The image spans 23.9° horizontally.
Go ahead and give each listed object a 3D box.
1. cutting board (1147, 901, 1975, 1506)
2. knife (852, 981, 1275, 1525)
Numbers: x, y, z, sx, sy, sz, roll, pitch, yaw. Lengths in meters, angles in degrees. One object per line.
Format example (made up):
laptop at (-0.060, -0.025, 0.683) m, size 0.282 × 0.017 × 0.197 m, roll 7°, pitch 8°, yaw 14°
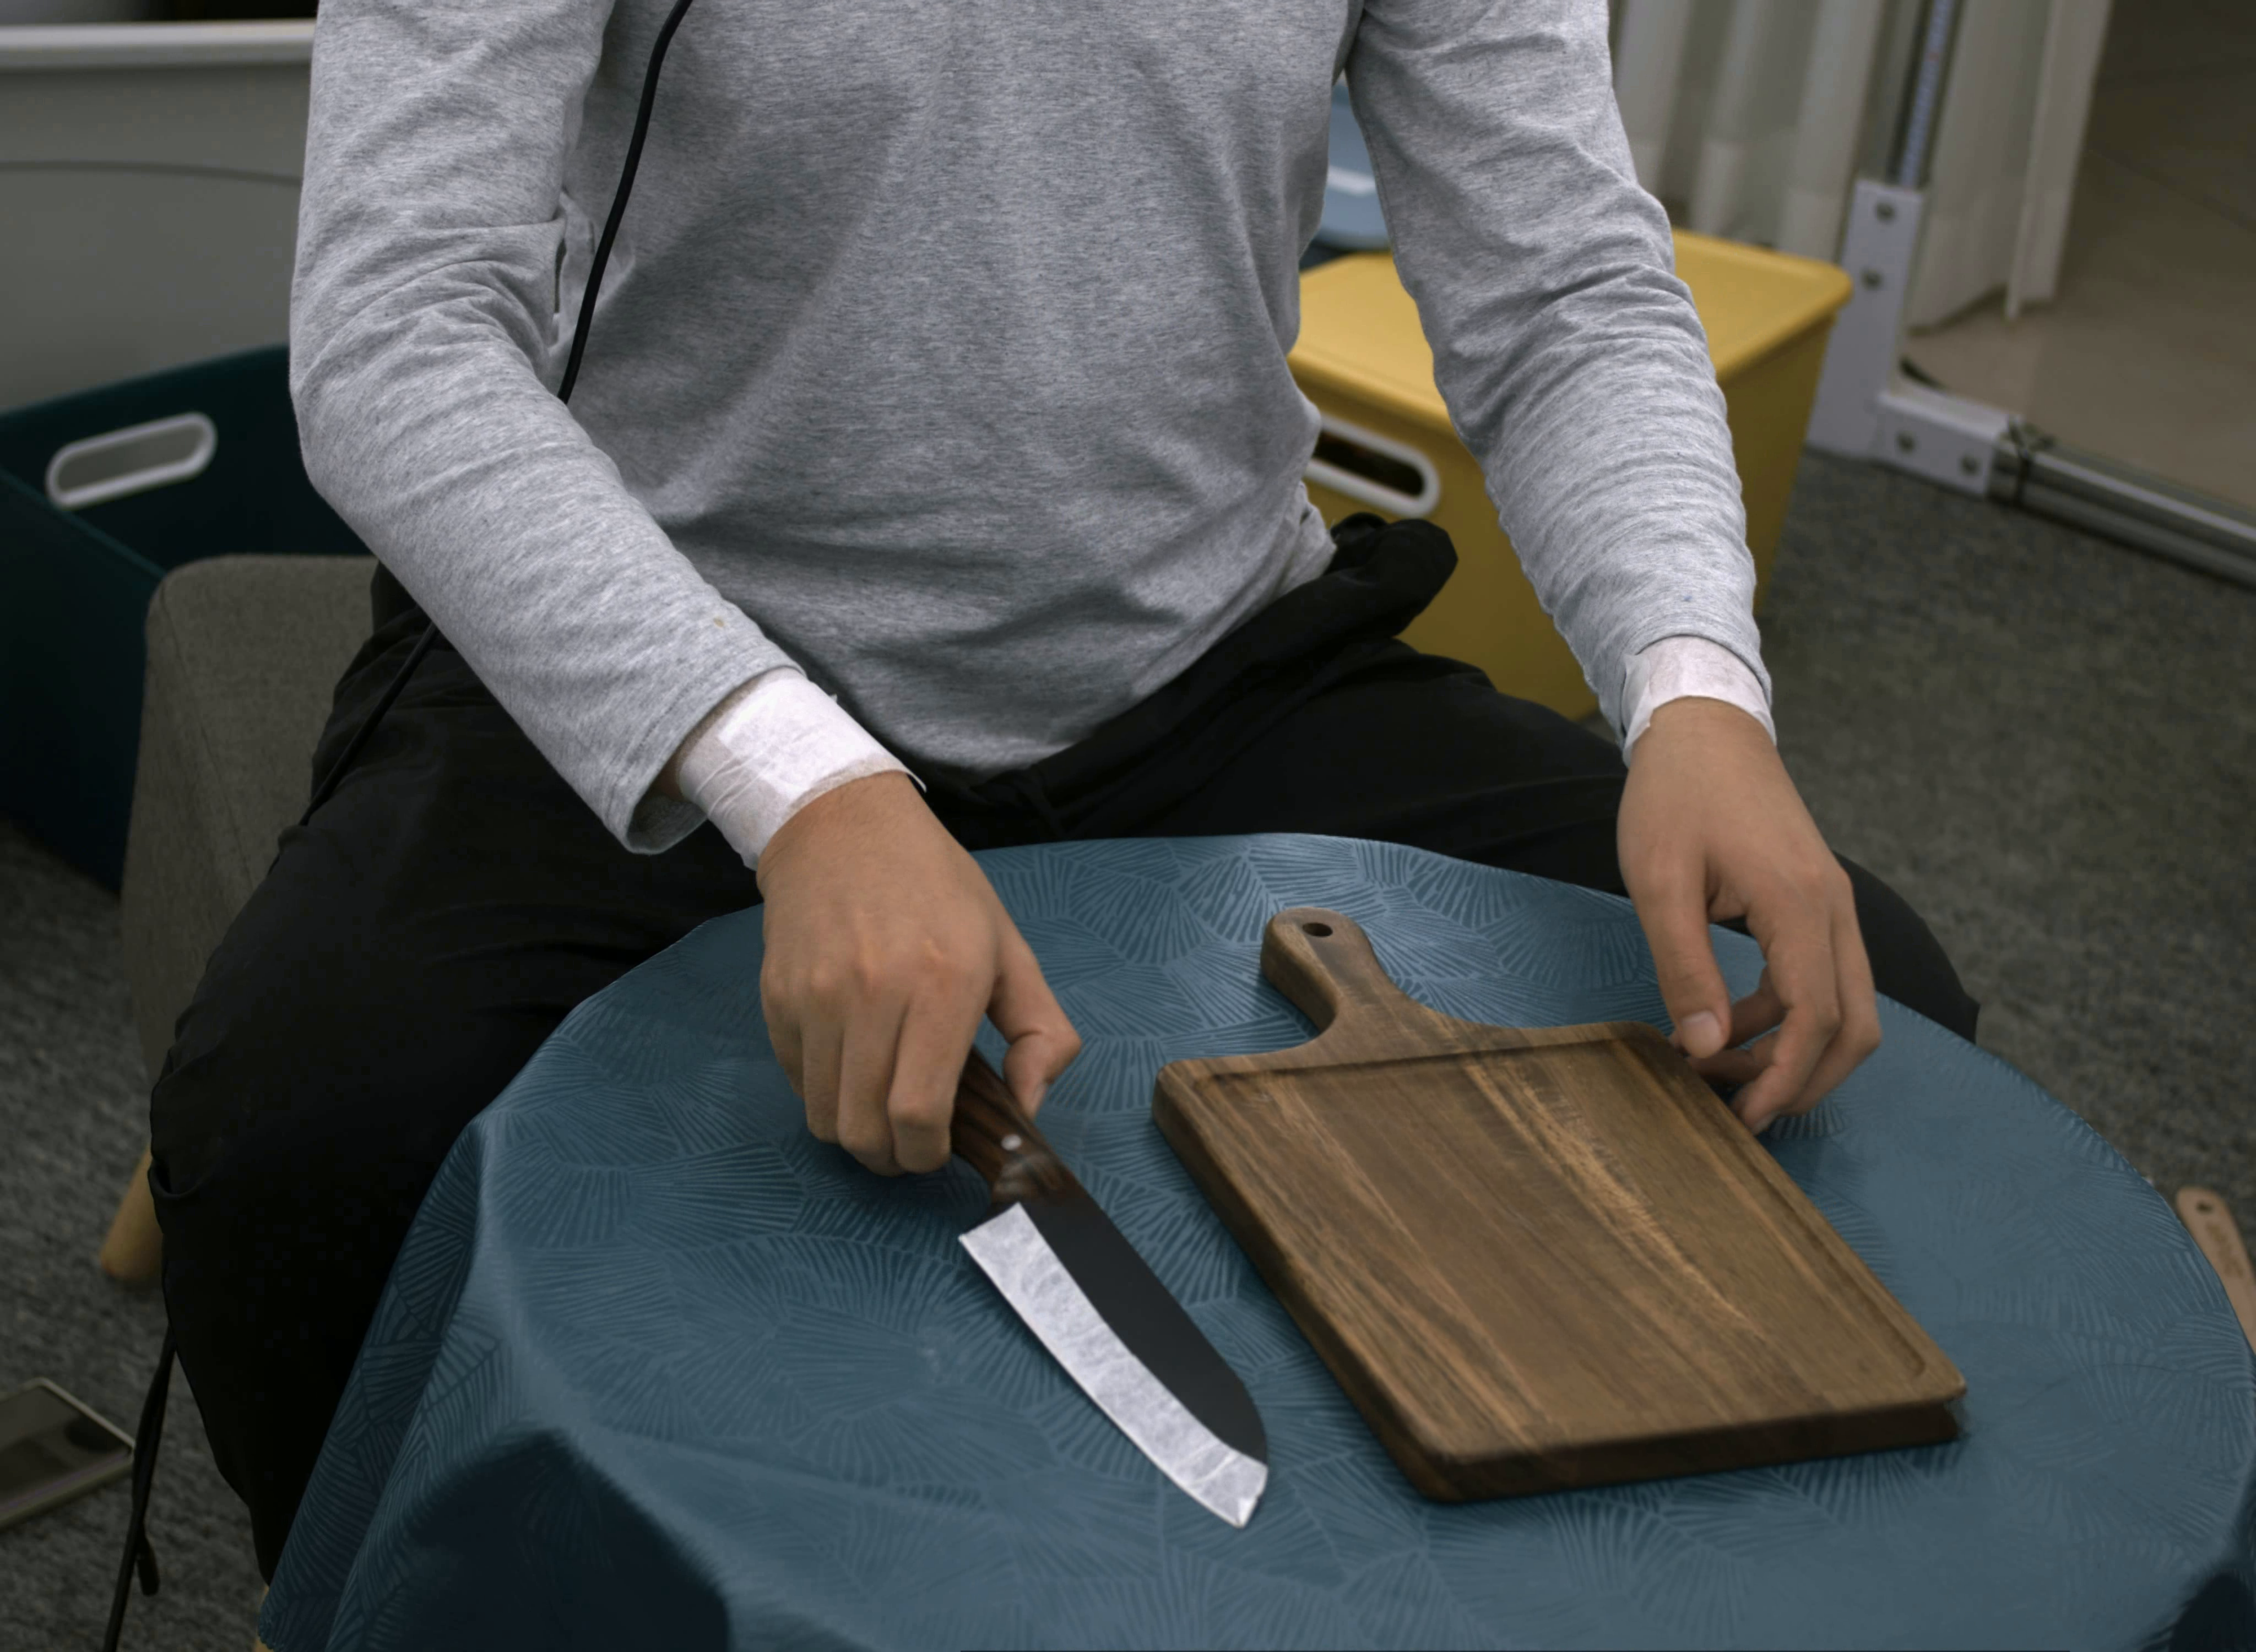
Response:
cutting board at (0.123, 0.117, 1.824) m, size 0.200 × 0.023 × 0.355 m, roll -4°, pitch 29°, yaw -21°
knife at (-0.024, 0.137, 1.738) m, size 0.050 × 0.020 × 0.292 m, roll -28°, pitch 42°, yaw -11°
